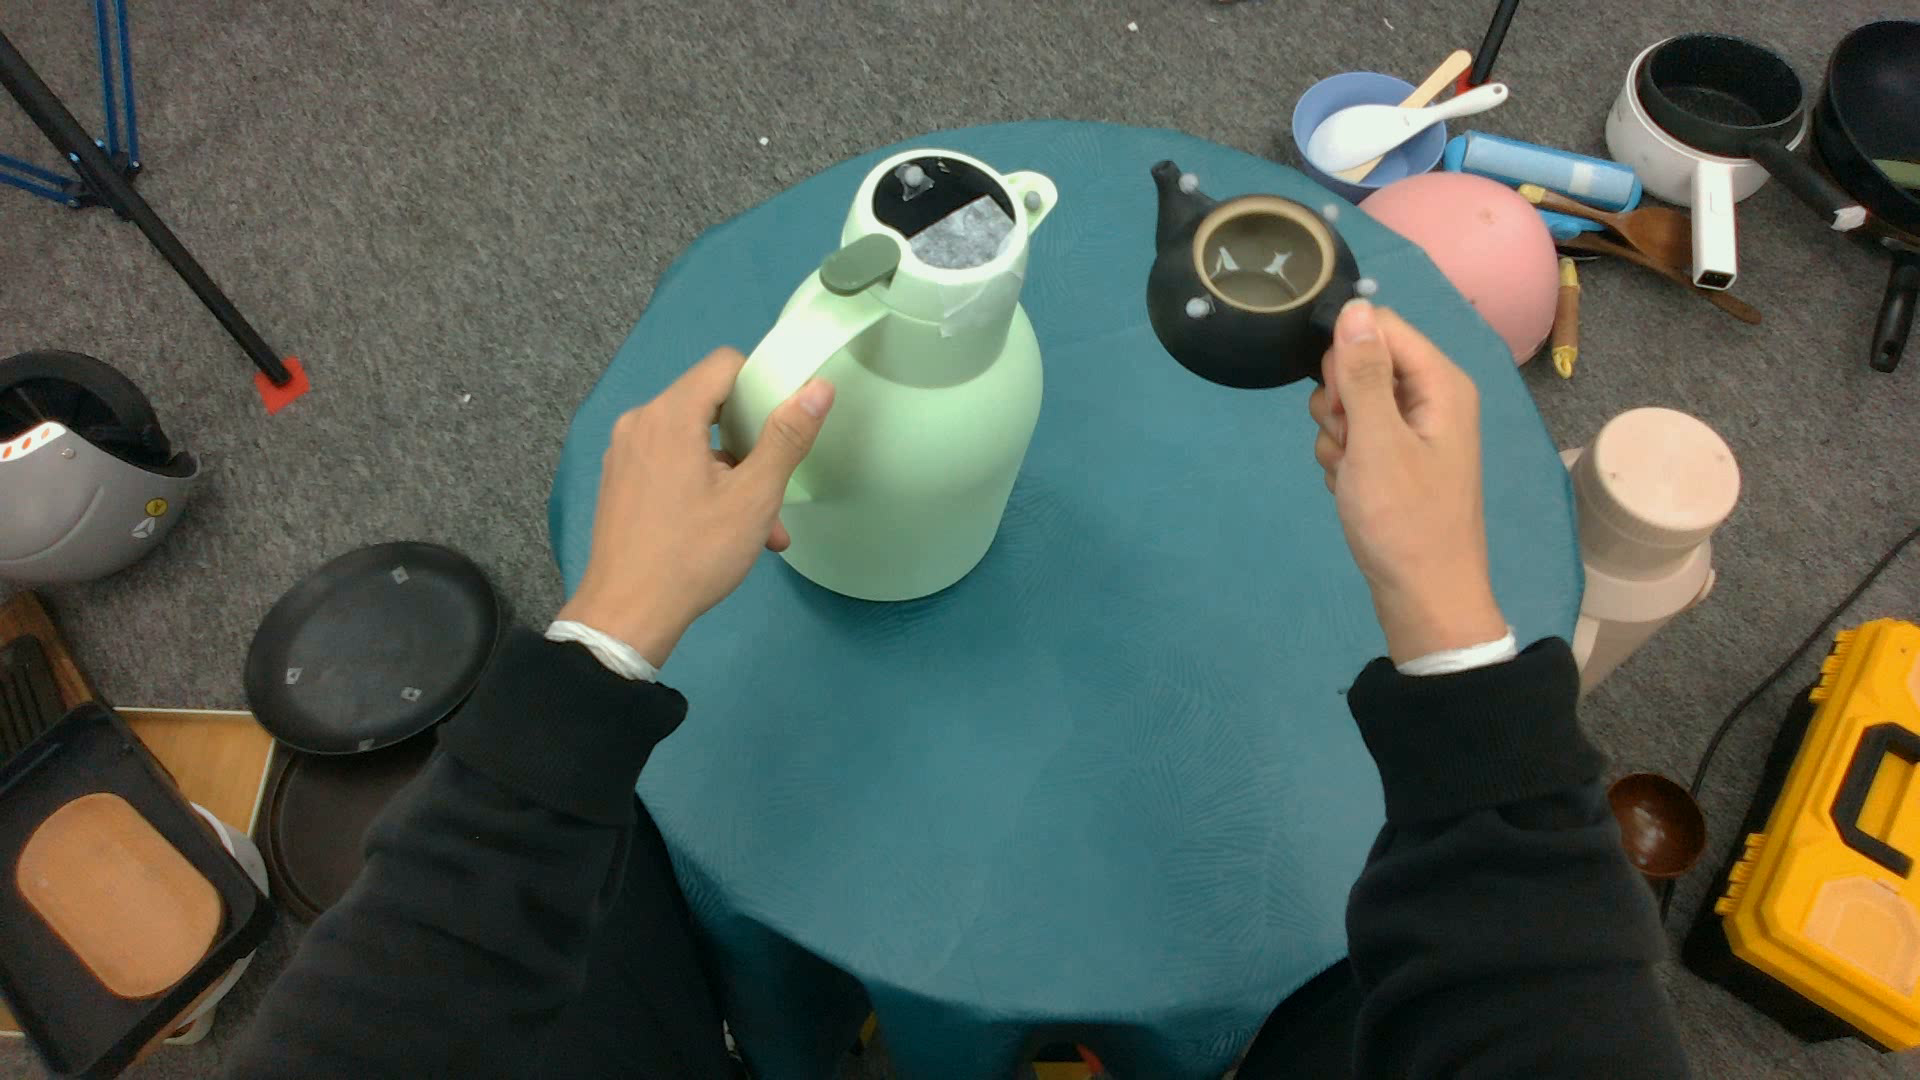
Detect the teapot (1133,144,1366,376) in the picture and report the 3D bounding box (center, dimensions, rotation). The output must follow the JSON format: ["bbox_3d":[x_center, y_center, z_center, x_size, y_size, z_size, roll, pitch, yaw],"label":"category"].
[{"bbox_3d":[0.121,-0.115,0.591,0.091,0.053,0.133,-39,69,-12],"label":"teapot"}]

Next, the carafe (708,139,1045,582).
[{"bbox_3d":[-0.045,-0.082,0.695,0.187,0.255,0.144,-39,77,-23],"label":"carafe"}]
